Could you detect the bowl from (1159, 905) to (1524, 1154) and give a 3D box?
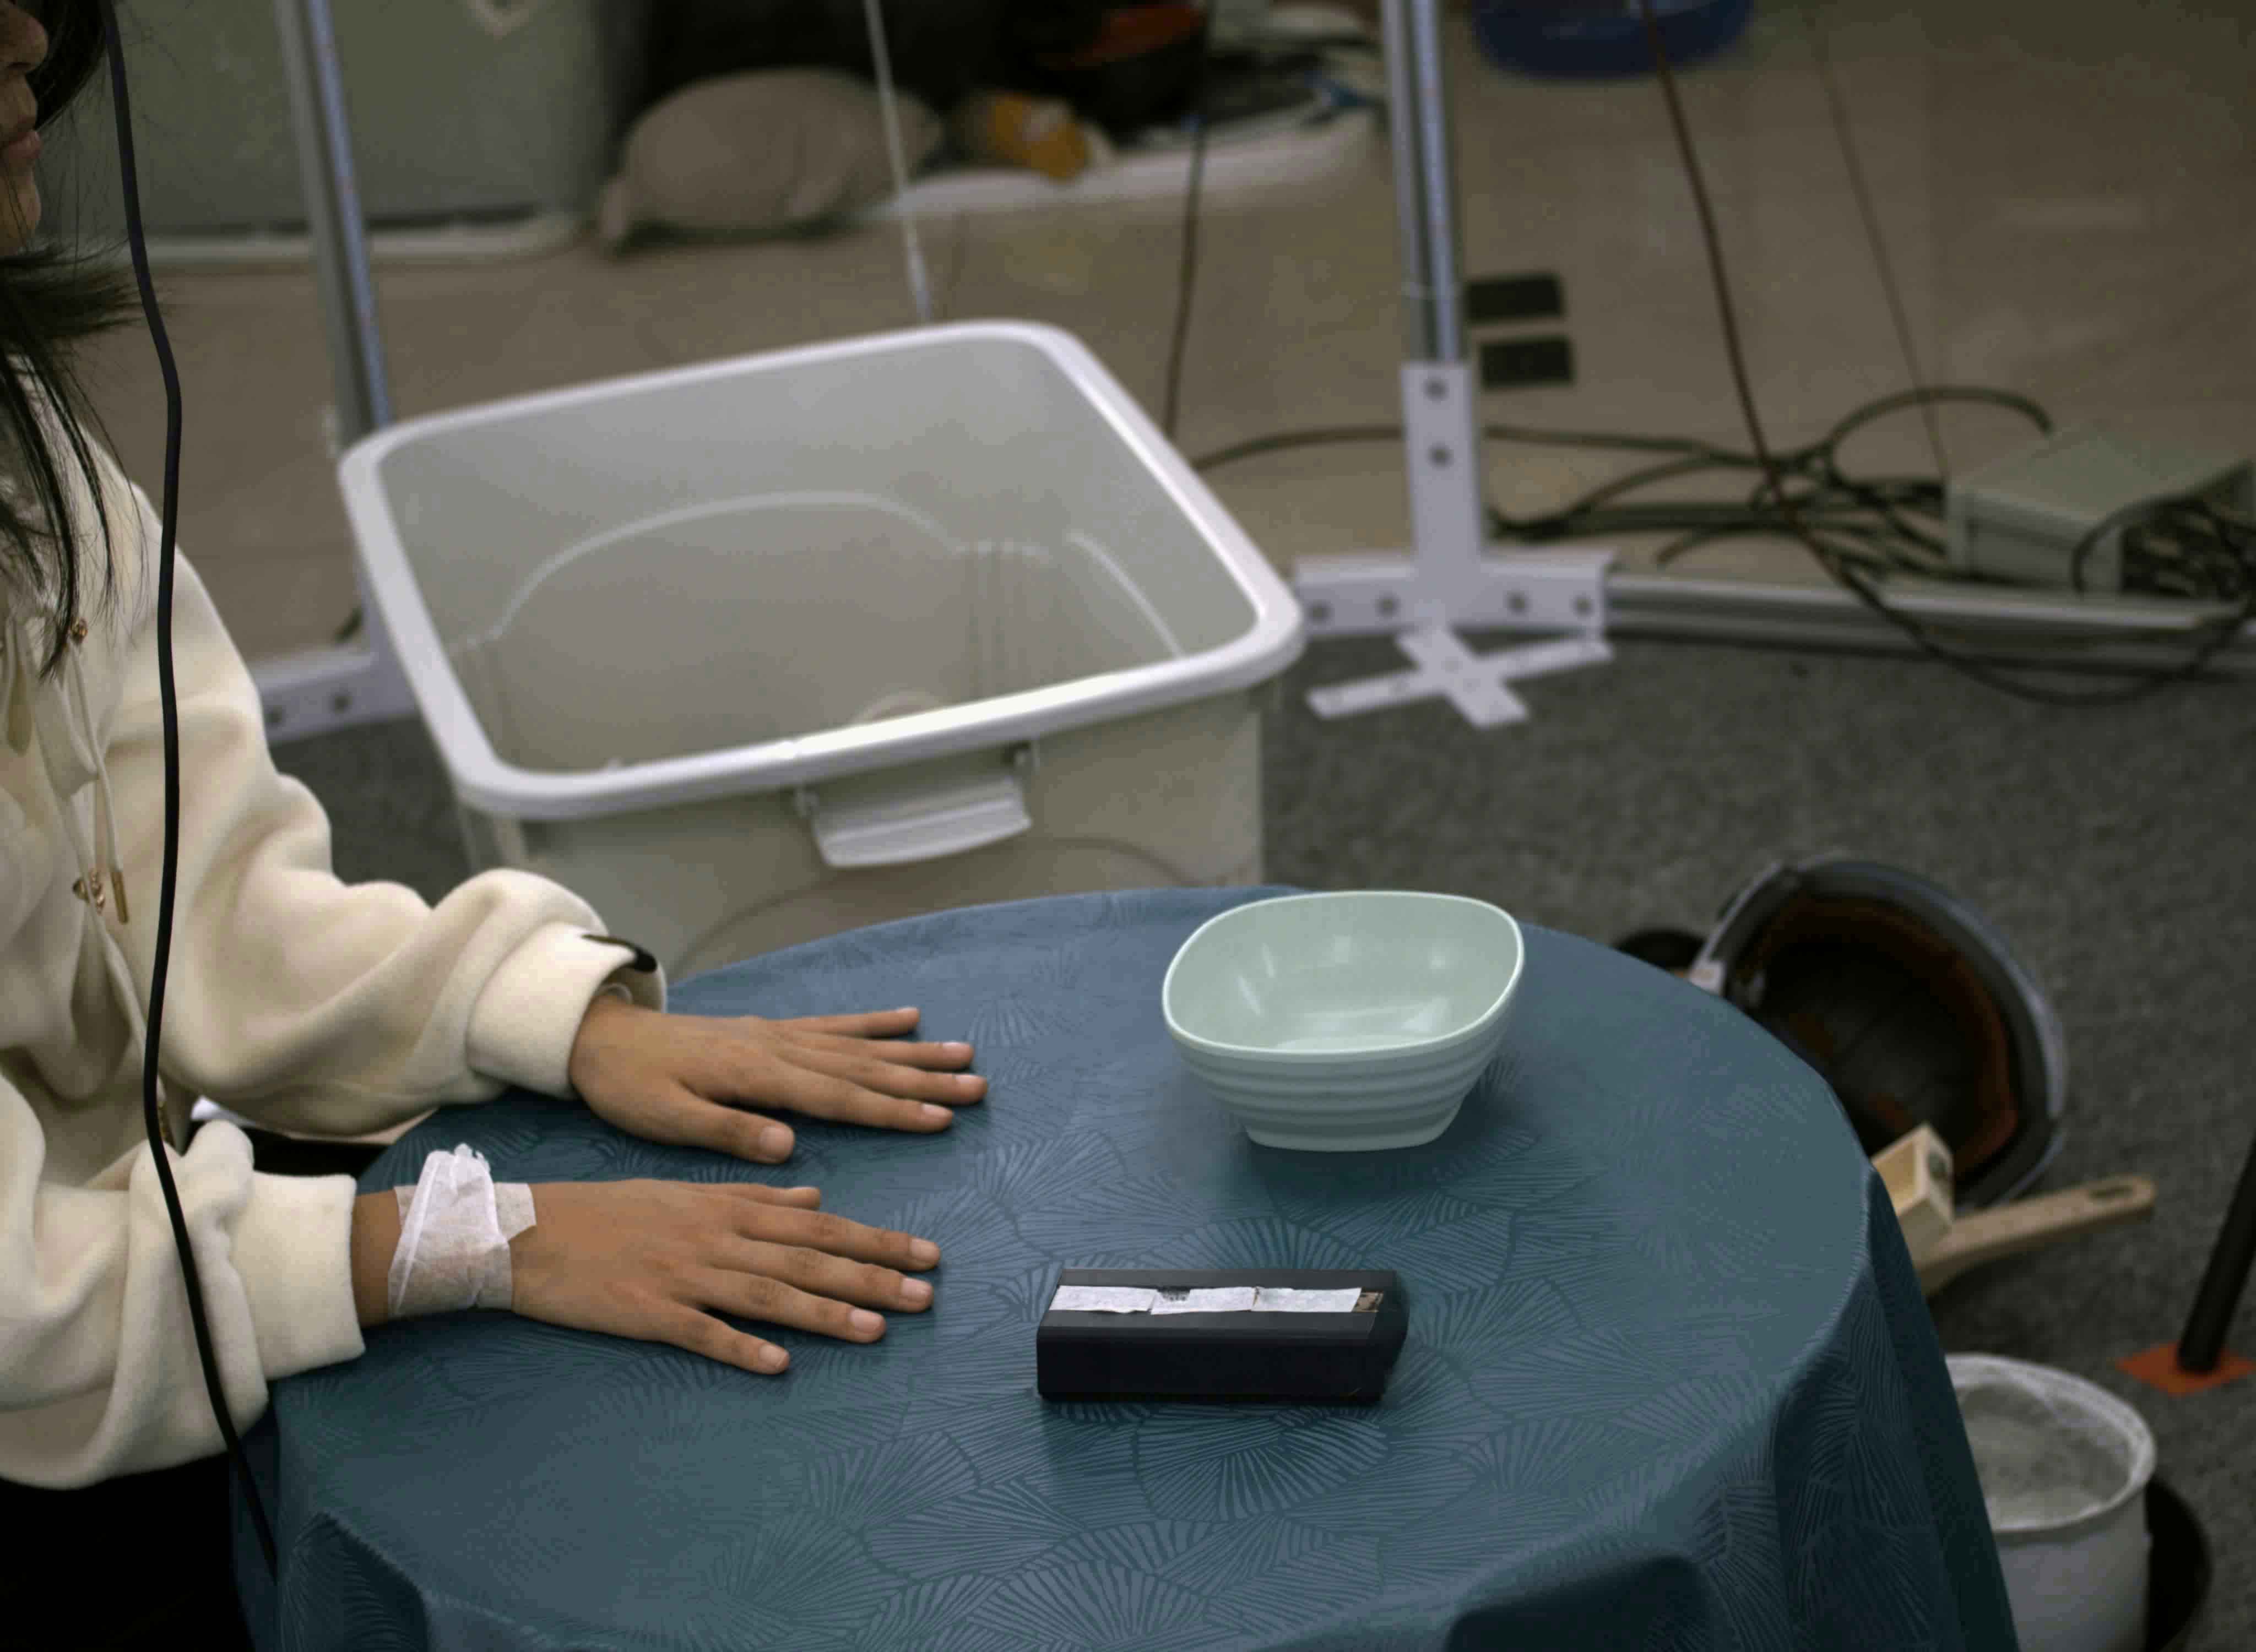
[{"bbox_3d":[0.084,0.083,2.181,0.151,0.059,0.149,-5,22,2],"label":"bowl"}]

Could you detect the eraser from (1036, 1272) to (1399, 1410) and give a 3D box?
[{"bbox_3d":[0.033,0.182,2.015,0.125,0.031,0.053,-3,23,13],"label":"eraser"}]
